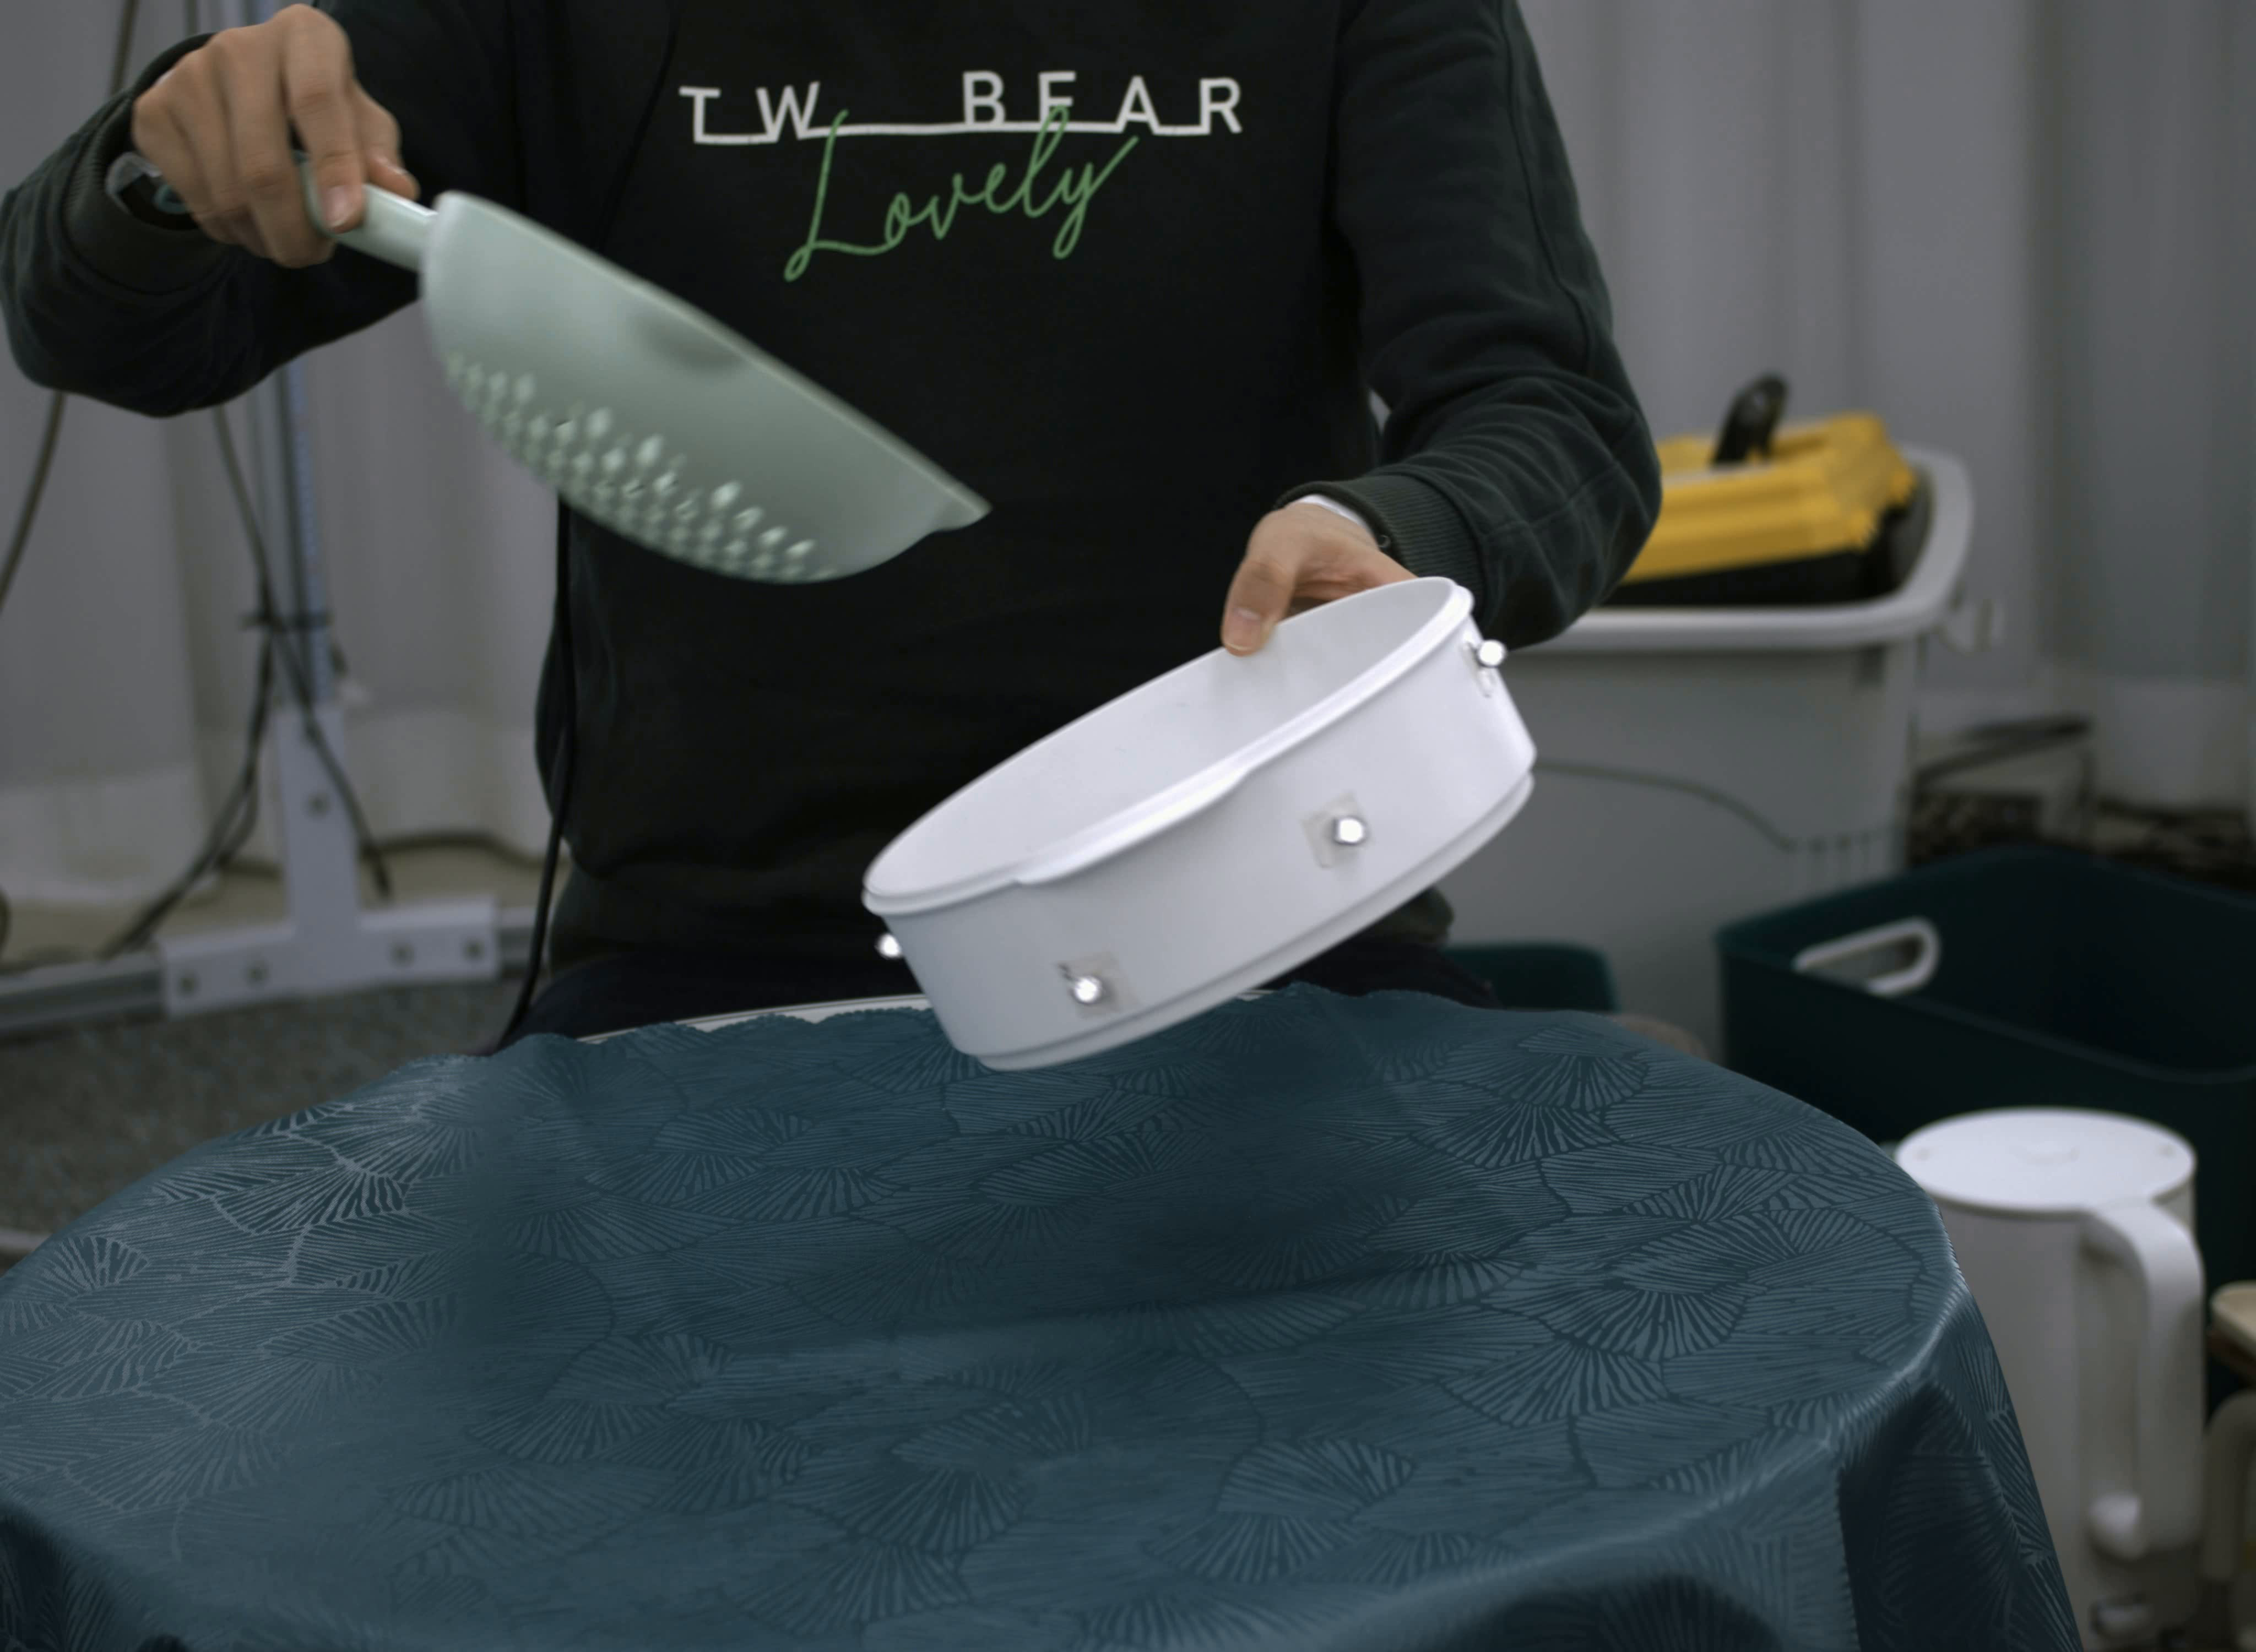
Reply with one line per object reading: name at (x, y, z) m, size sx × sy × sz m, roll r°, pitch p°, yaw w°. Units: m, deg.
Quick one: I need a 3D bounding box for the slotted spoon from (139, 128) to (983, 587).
slotted spoon at (-0.190, -0.156, 1.619) m, size 0.167 × 0.075 × 0.363 m, roll 35°, pitch 3°, yaw -45°

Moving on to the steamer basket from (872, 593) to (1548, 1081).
steamer basket at (0.027, 0.005, 1.612) m, size 0.201 × 0.069 × 0.232 m, roll -25°, pitch 10°, yaw 11°
